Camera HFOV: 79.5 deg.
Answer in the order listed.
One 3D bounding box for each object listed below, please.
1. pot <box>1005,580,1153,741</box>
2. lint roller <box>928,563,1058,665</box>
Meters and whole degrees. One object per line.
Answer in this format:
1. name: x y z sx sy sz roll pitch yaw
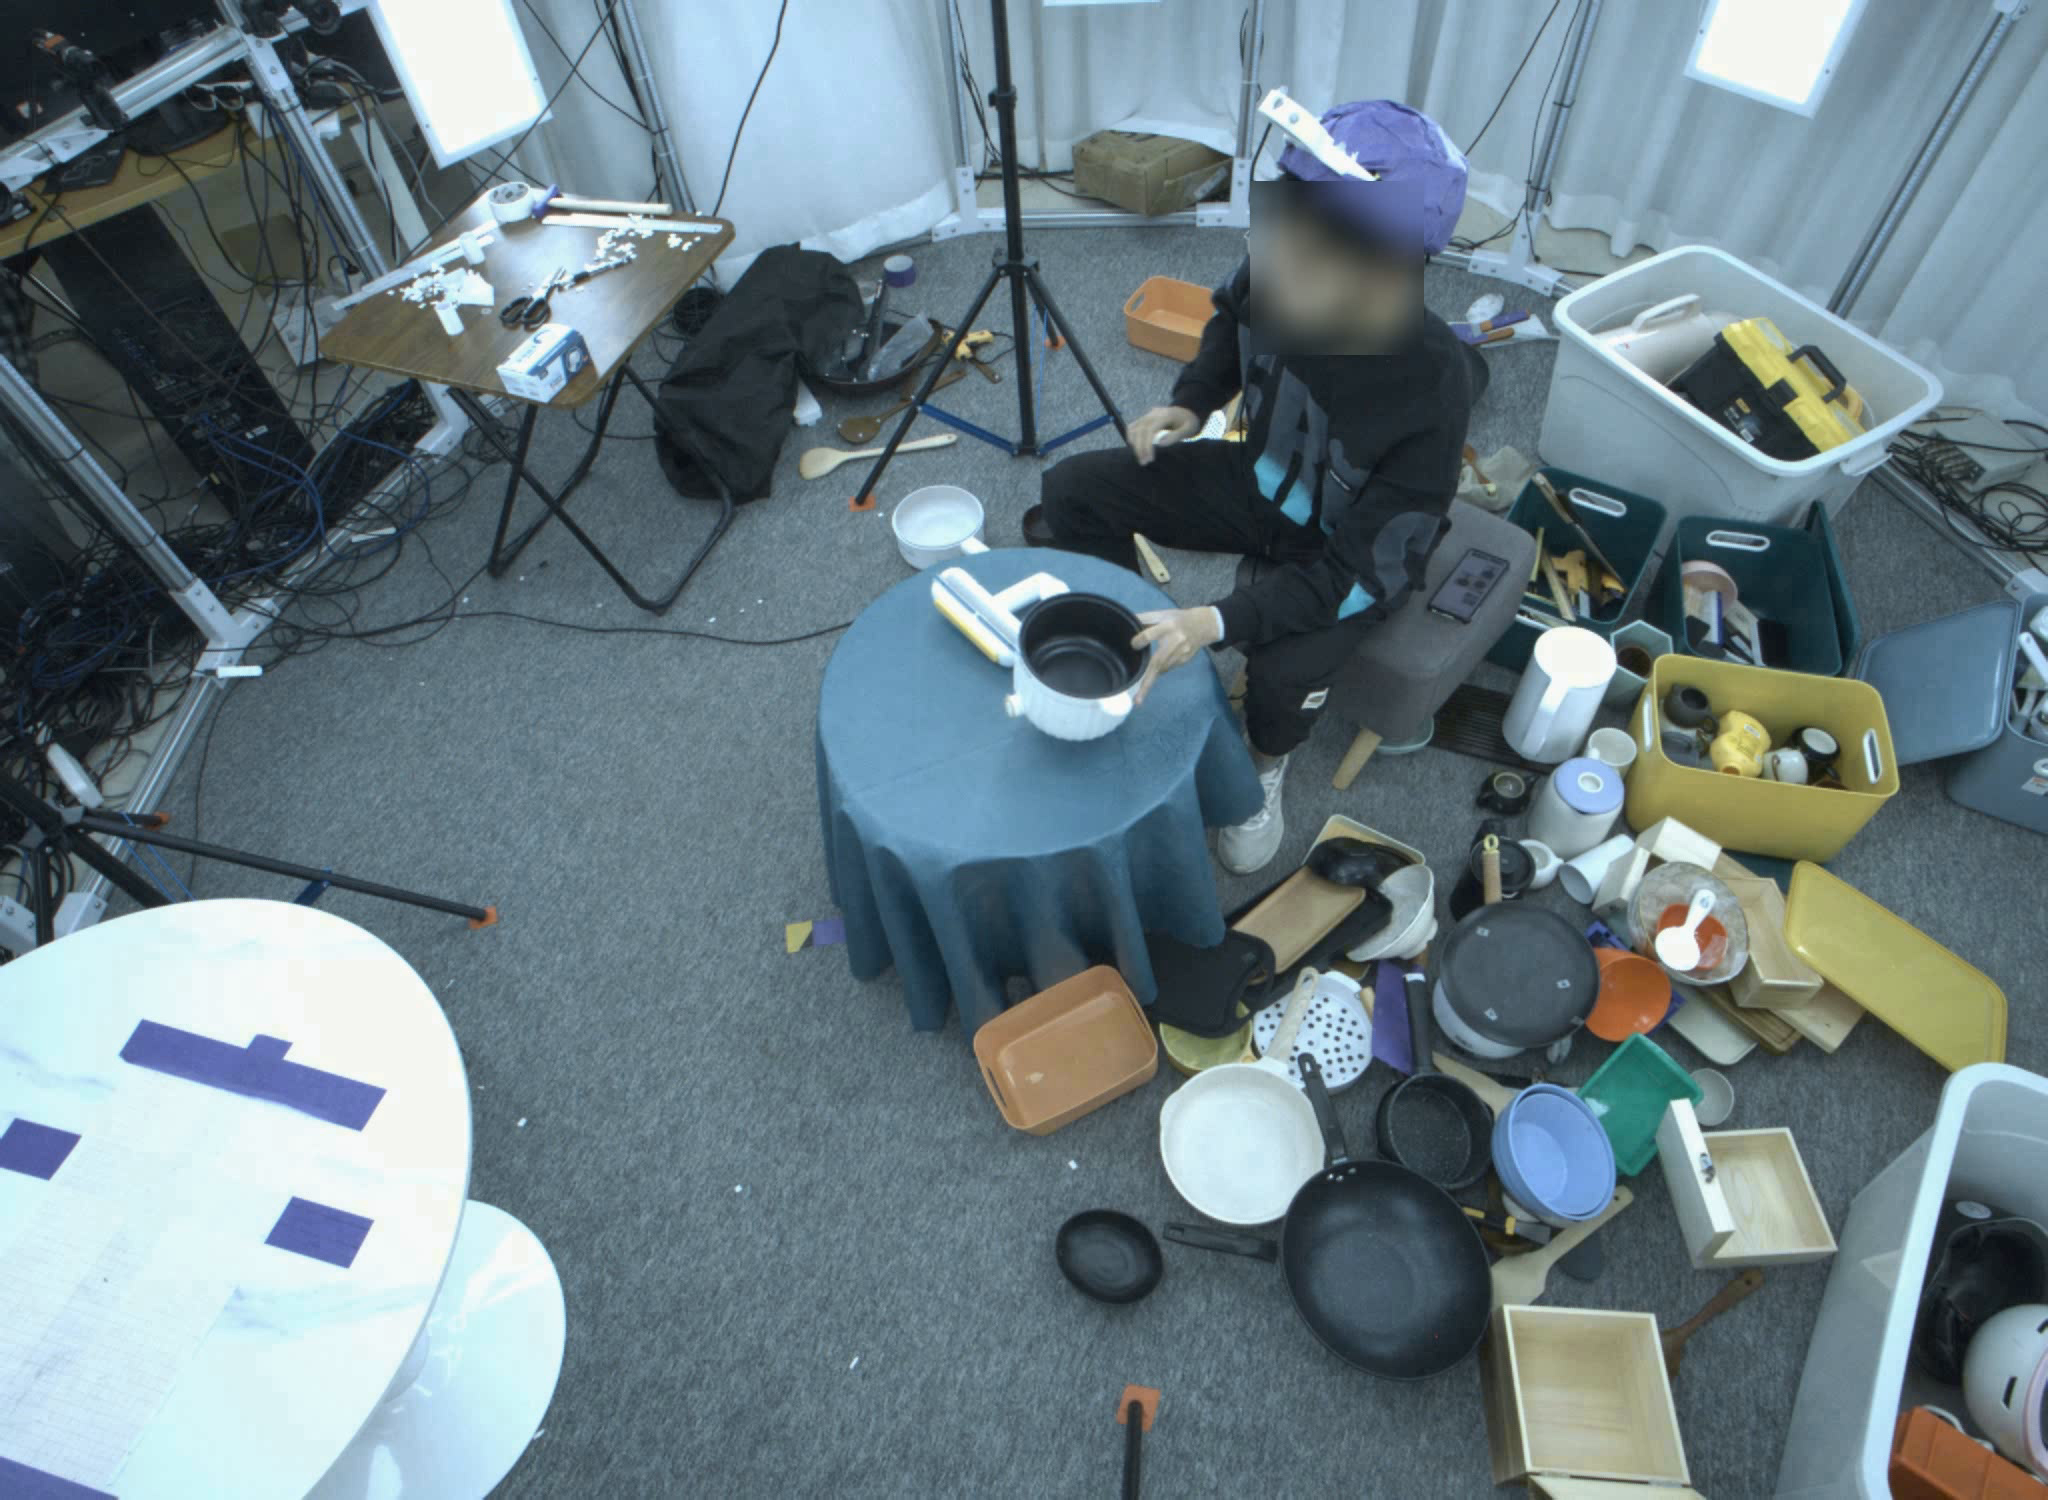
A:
1. pot: 0.070 -0.106 1.708 0.193 0.143 0.236 -17 61 -21
2. lint roller: -0.026 -0.234 1.909 0.194 0.075 0.190 -35 66 -23
